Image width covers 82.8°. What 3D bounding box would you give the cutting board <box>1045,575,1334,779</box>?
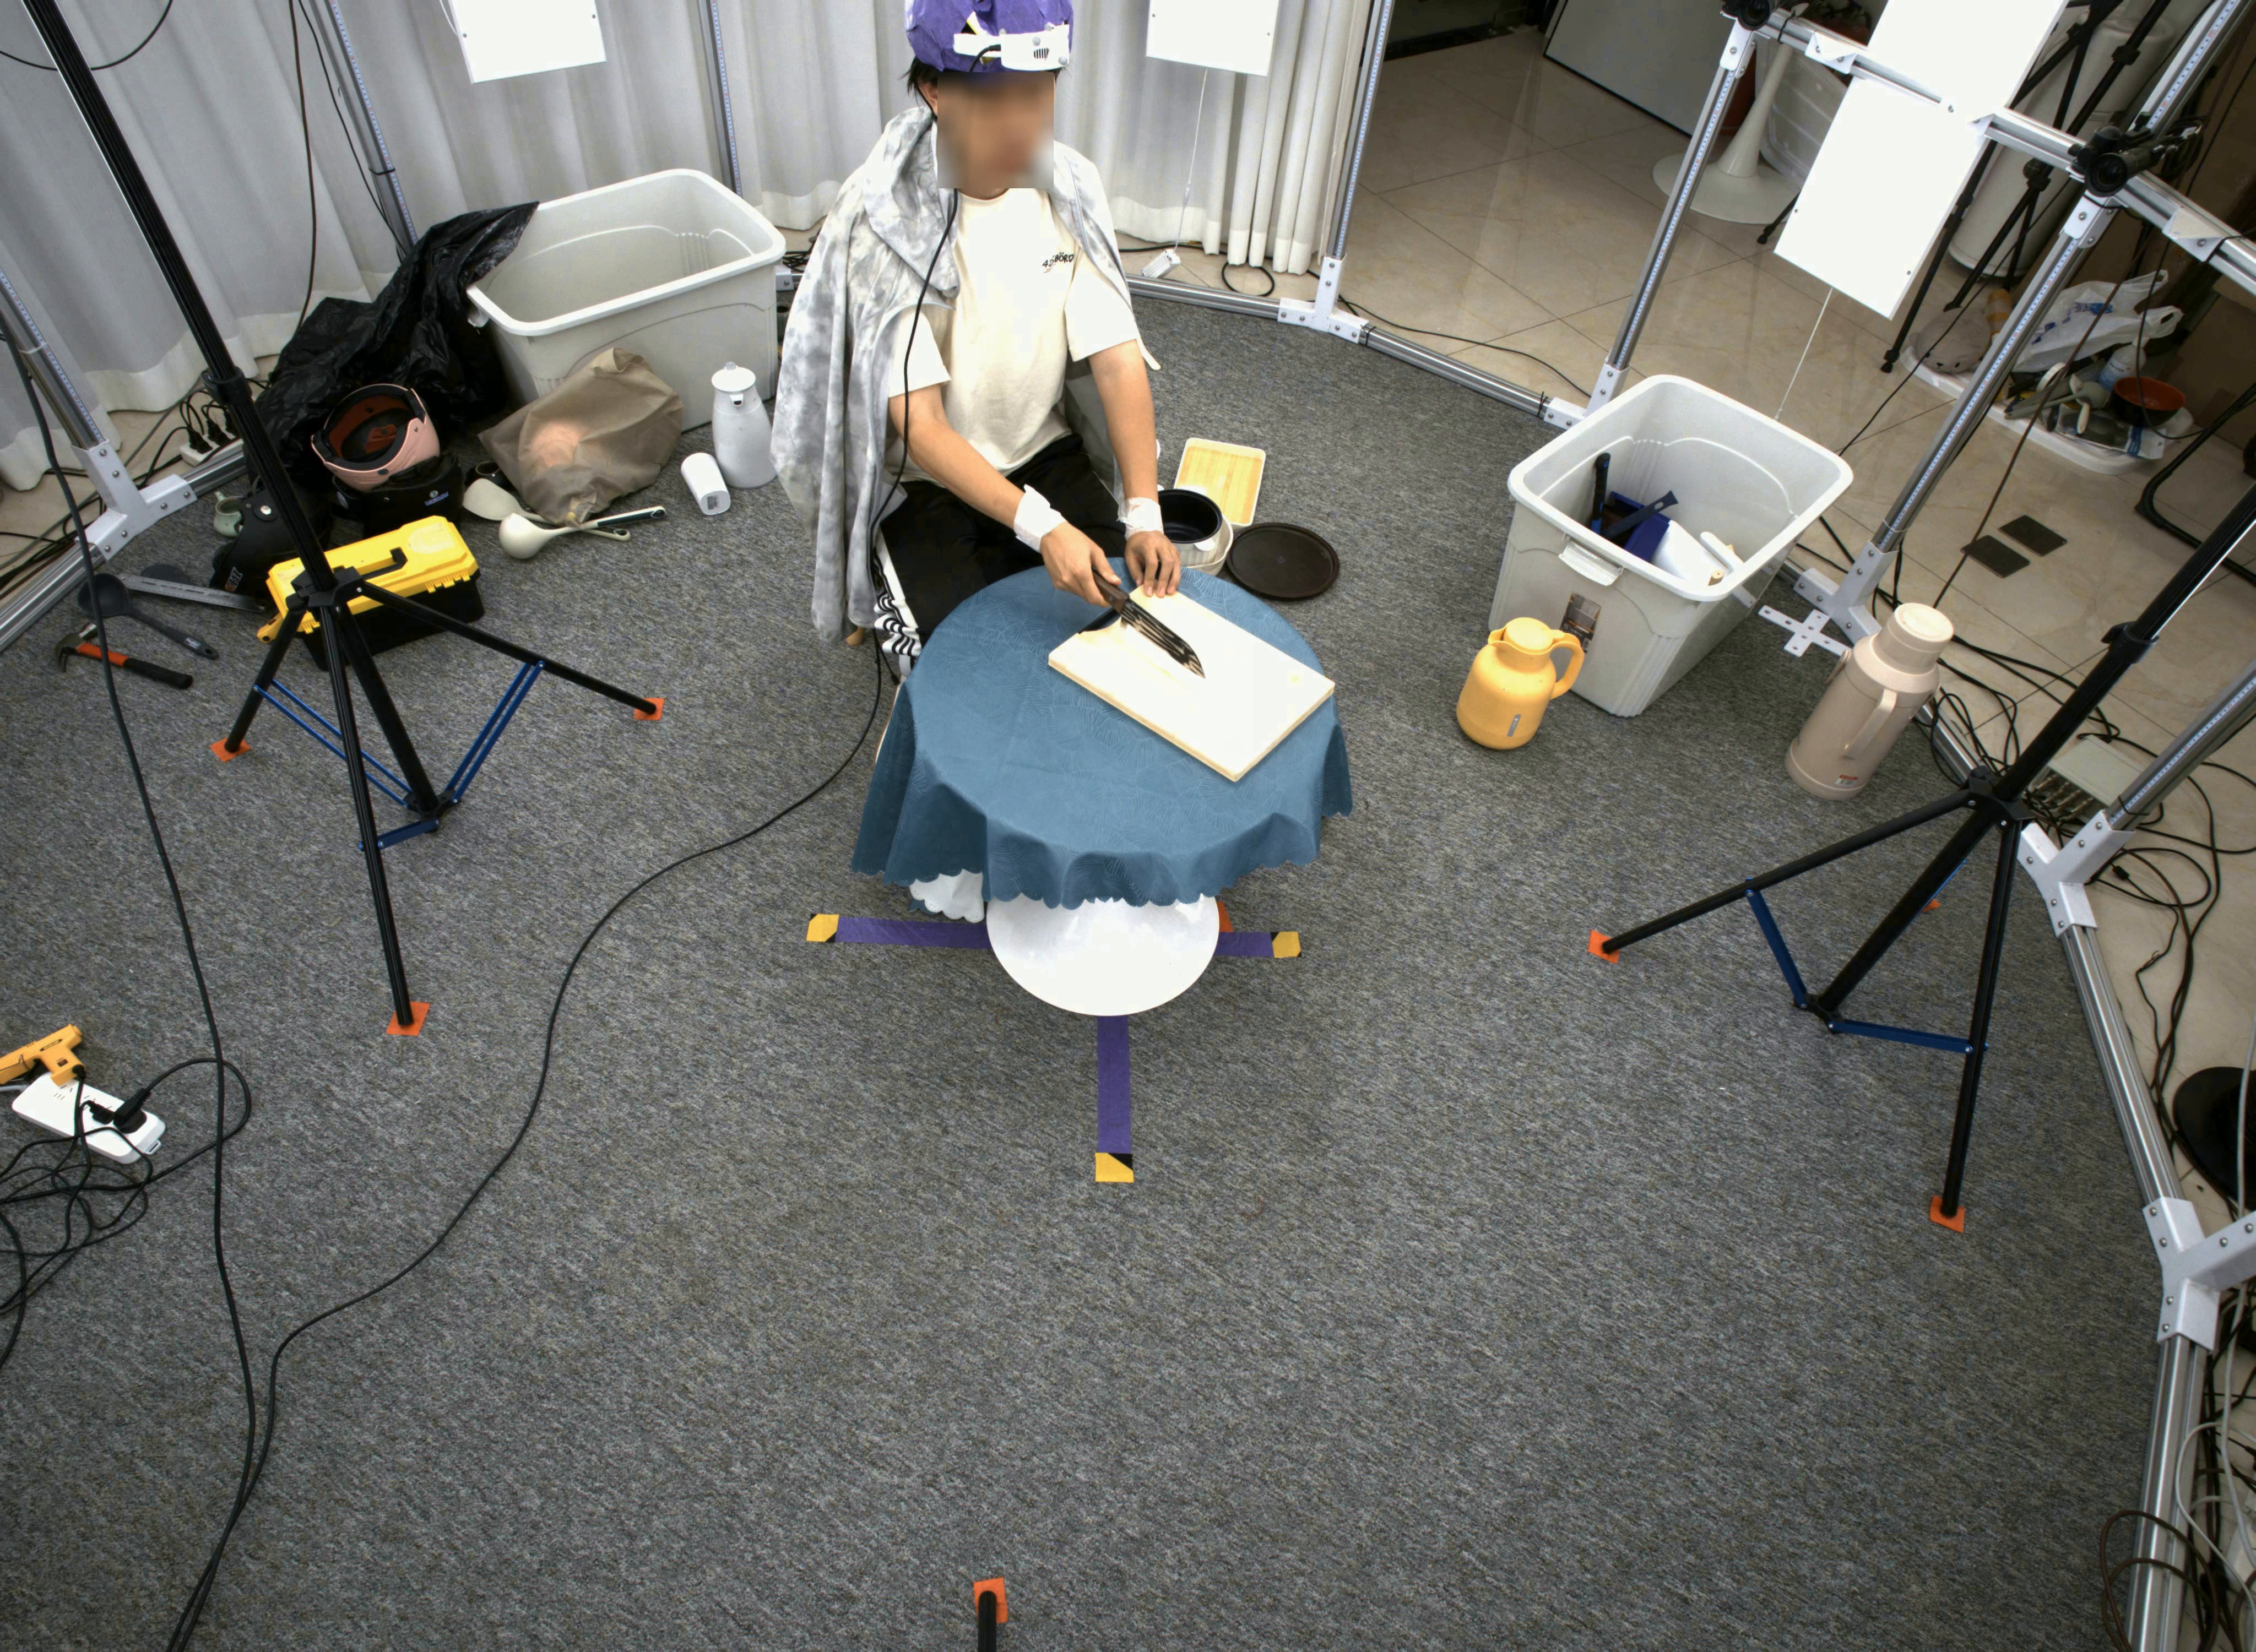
[{"bbox_3d":[0.087,-0.223,1.850,0.353,0.023,0.254,33,54,23],"label":"cutting board"}]

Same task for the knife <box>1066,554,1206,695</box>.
[{"bbox_3d":[0.011,-0.290,1.844,0.024,0.066,0.304,-28,58,-35],"label":"knife"}]
